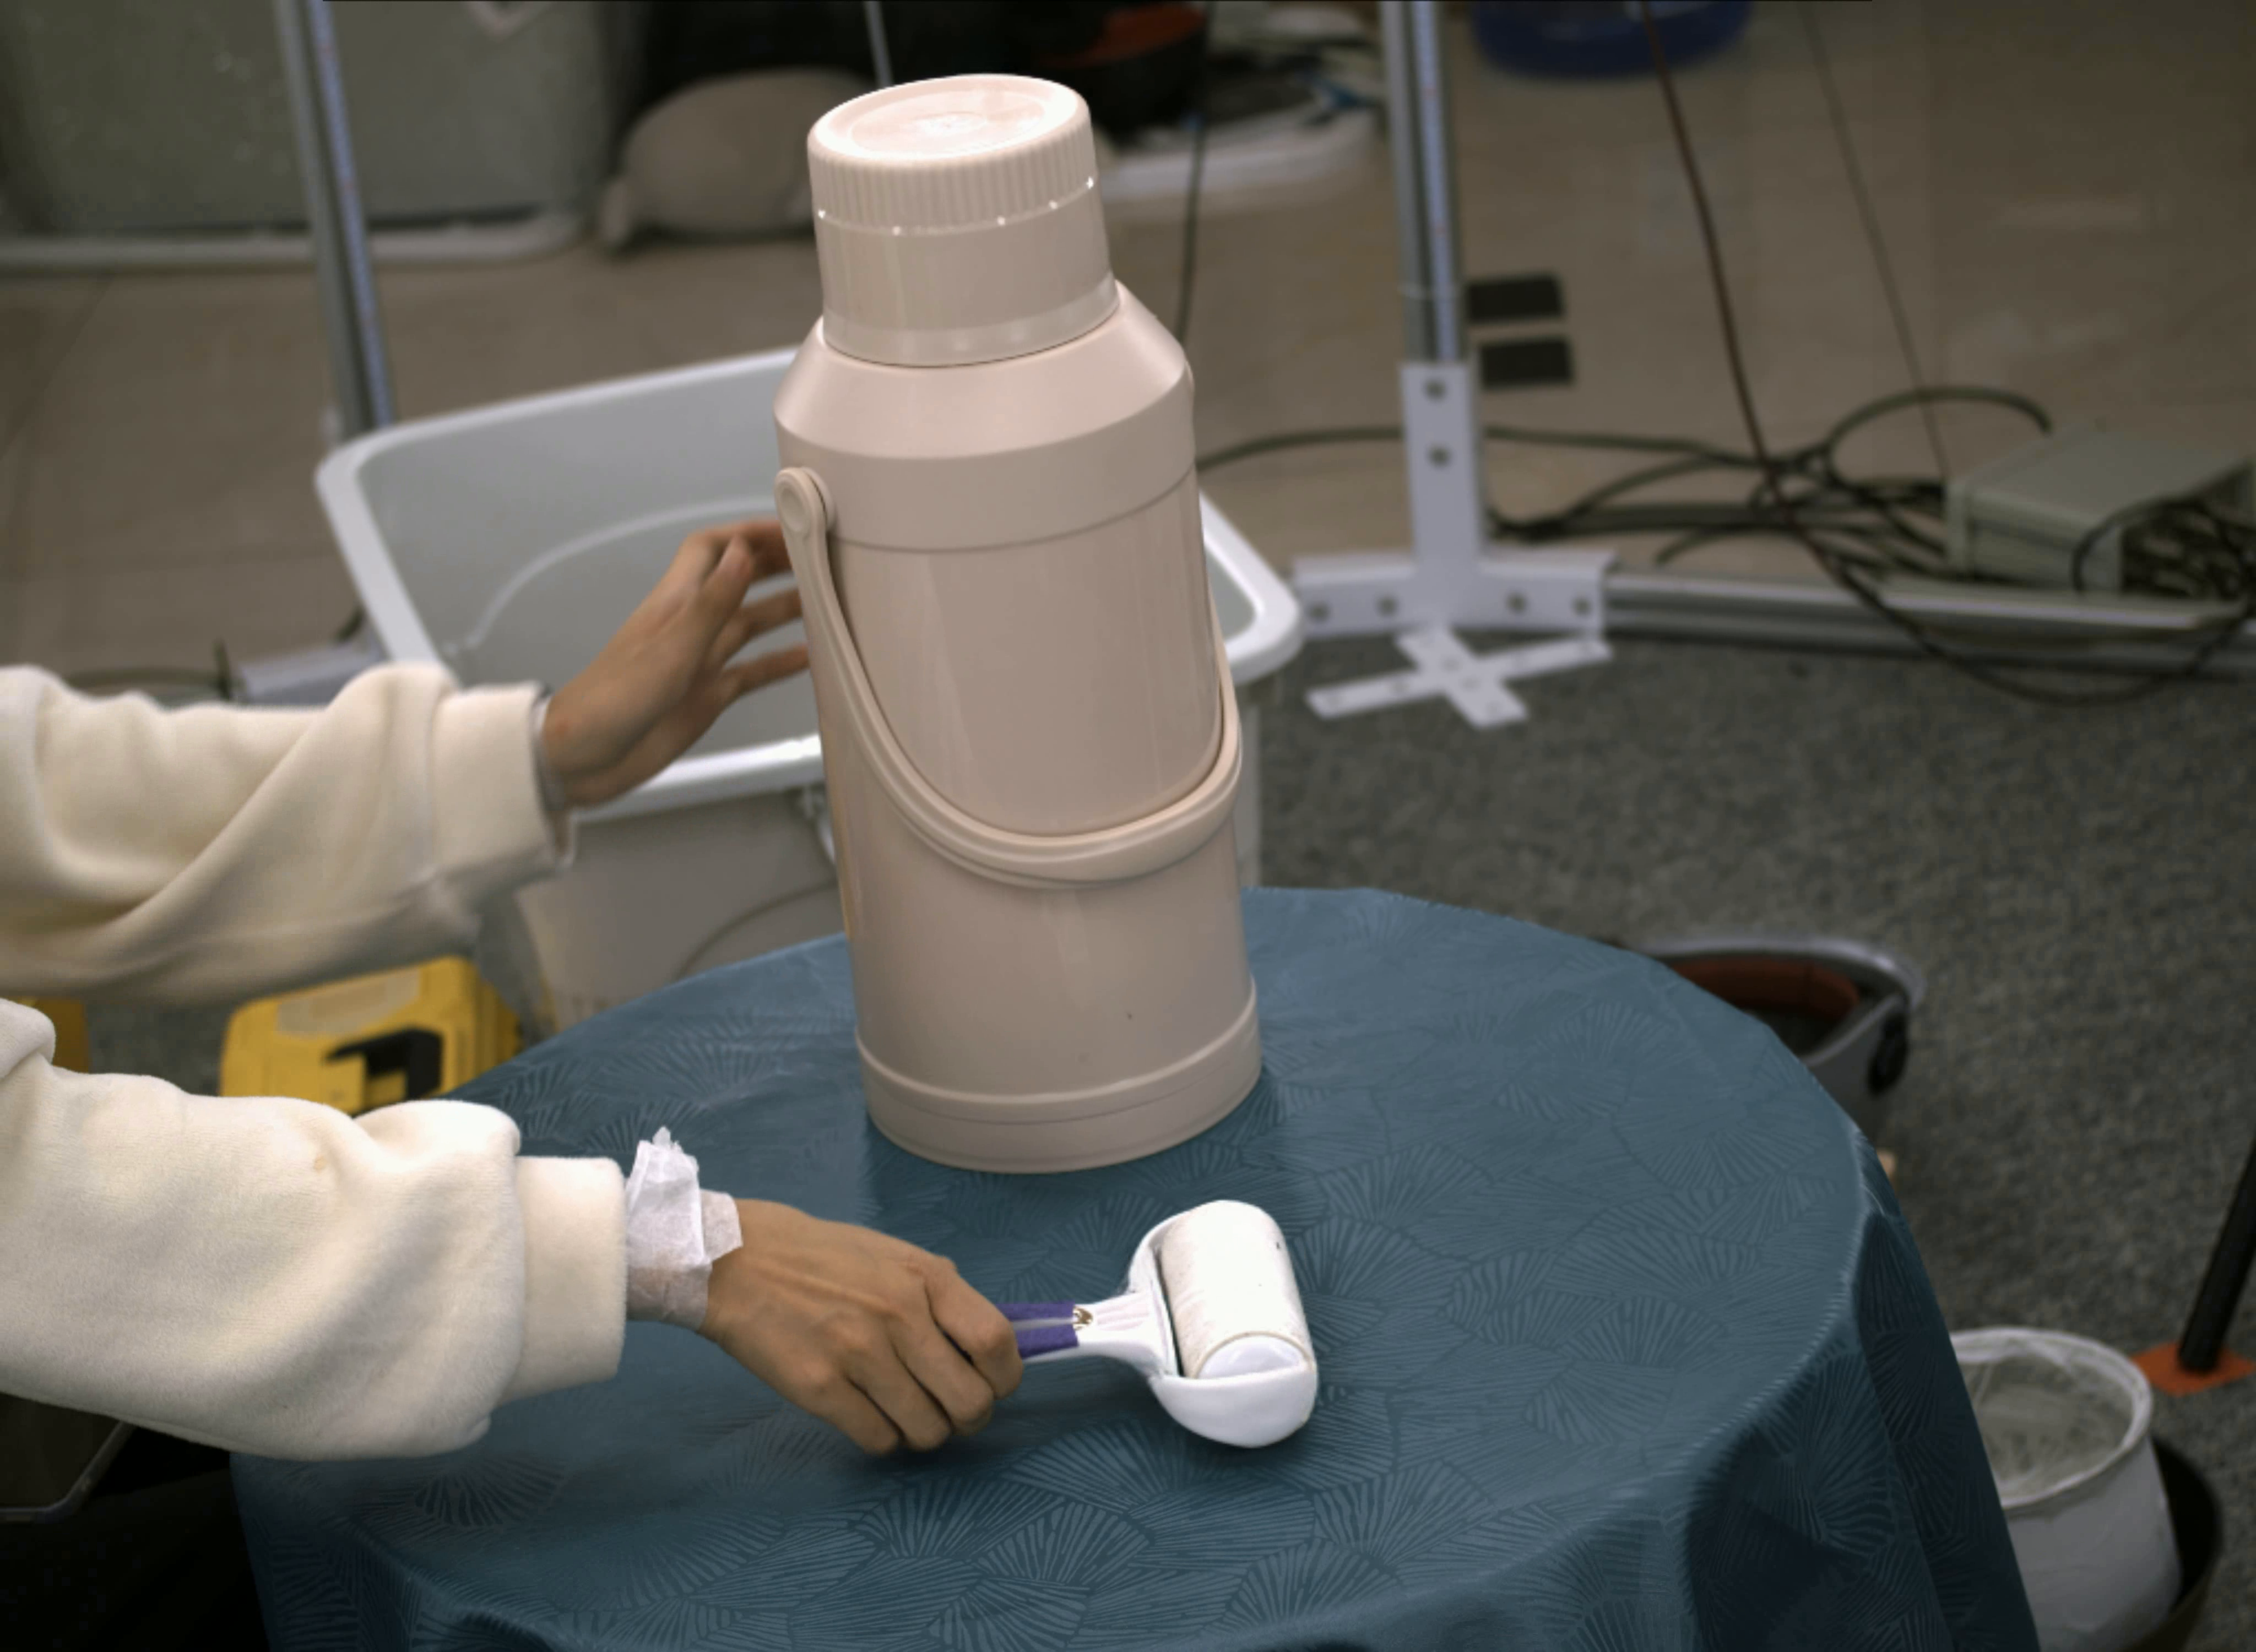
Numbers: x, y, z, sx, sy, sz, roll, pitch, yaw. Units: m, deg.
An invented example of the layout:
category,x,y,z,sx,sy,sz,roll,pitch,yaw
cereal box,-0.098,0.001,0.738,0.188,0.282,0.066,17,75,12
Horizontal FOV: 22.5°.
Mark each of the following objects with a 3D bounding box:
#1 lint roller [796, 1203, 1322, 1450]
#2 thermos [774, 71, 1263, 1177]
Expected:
category,x,y,z,sx,sy,sz,roll,pitch,yaw
lint roller,-0.025,0.171,1.999,0.180,0.051,0.131,5,25,-6
thermos,-0.052,-0.082,2.159,0.174,0.413,0.205,-23,30,-29
